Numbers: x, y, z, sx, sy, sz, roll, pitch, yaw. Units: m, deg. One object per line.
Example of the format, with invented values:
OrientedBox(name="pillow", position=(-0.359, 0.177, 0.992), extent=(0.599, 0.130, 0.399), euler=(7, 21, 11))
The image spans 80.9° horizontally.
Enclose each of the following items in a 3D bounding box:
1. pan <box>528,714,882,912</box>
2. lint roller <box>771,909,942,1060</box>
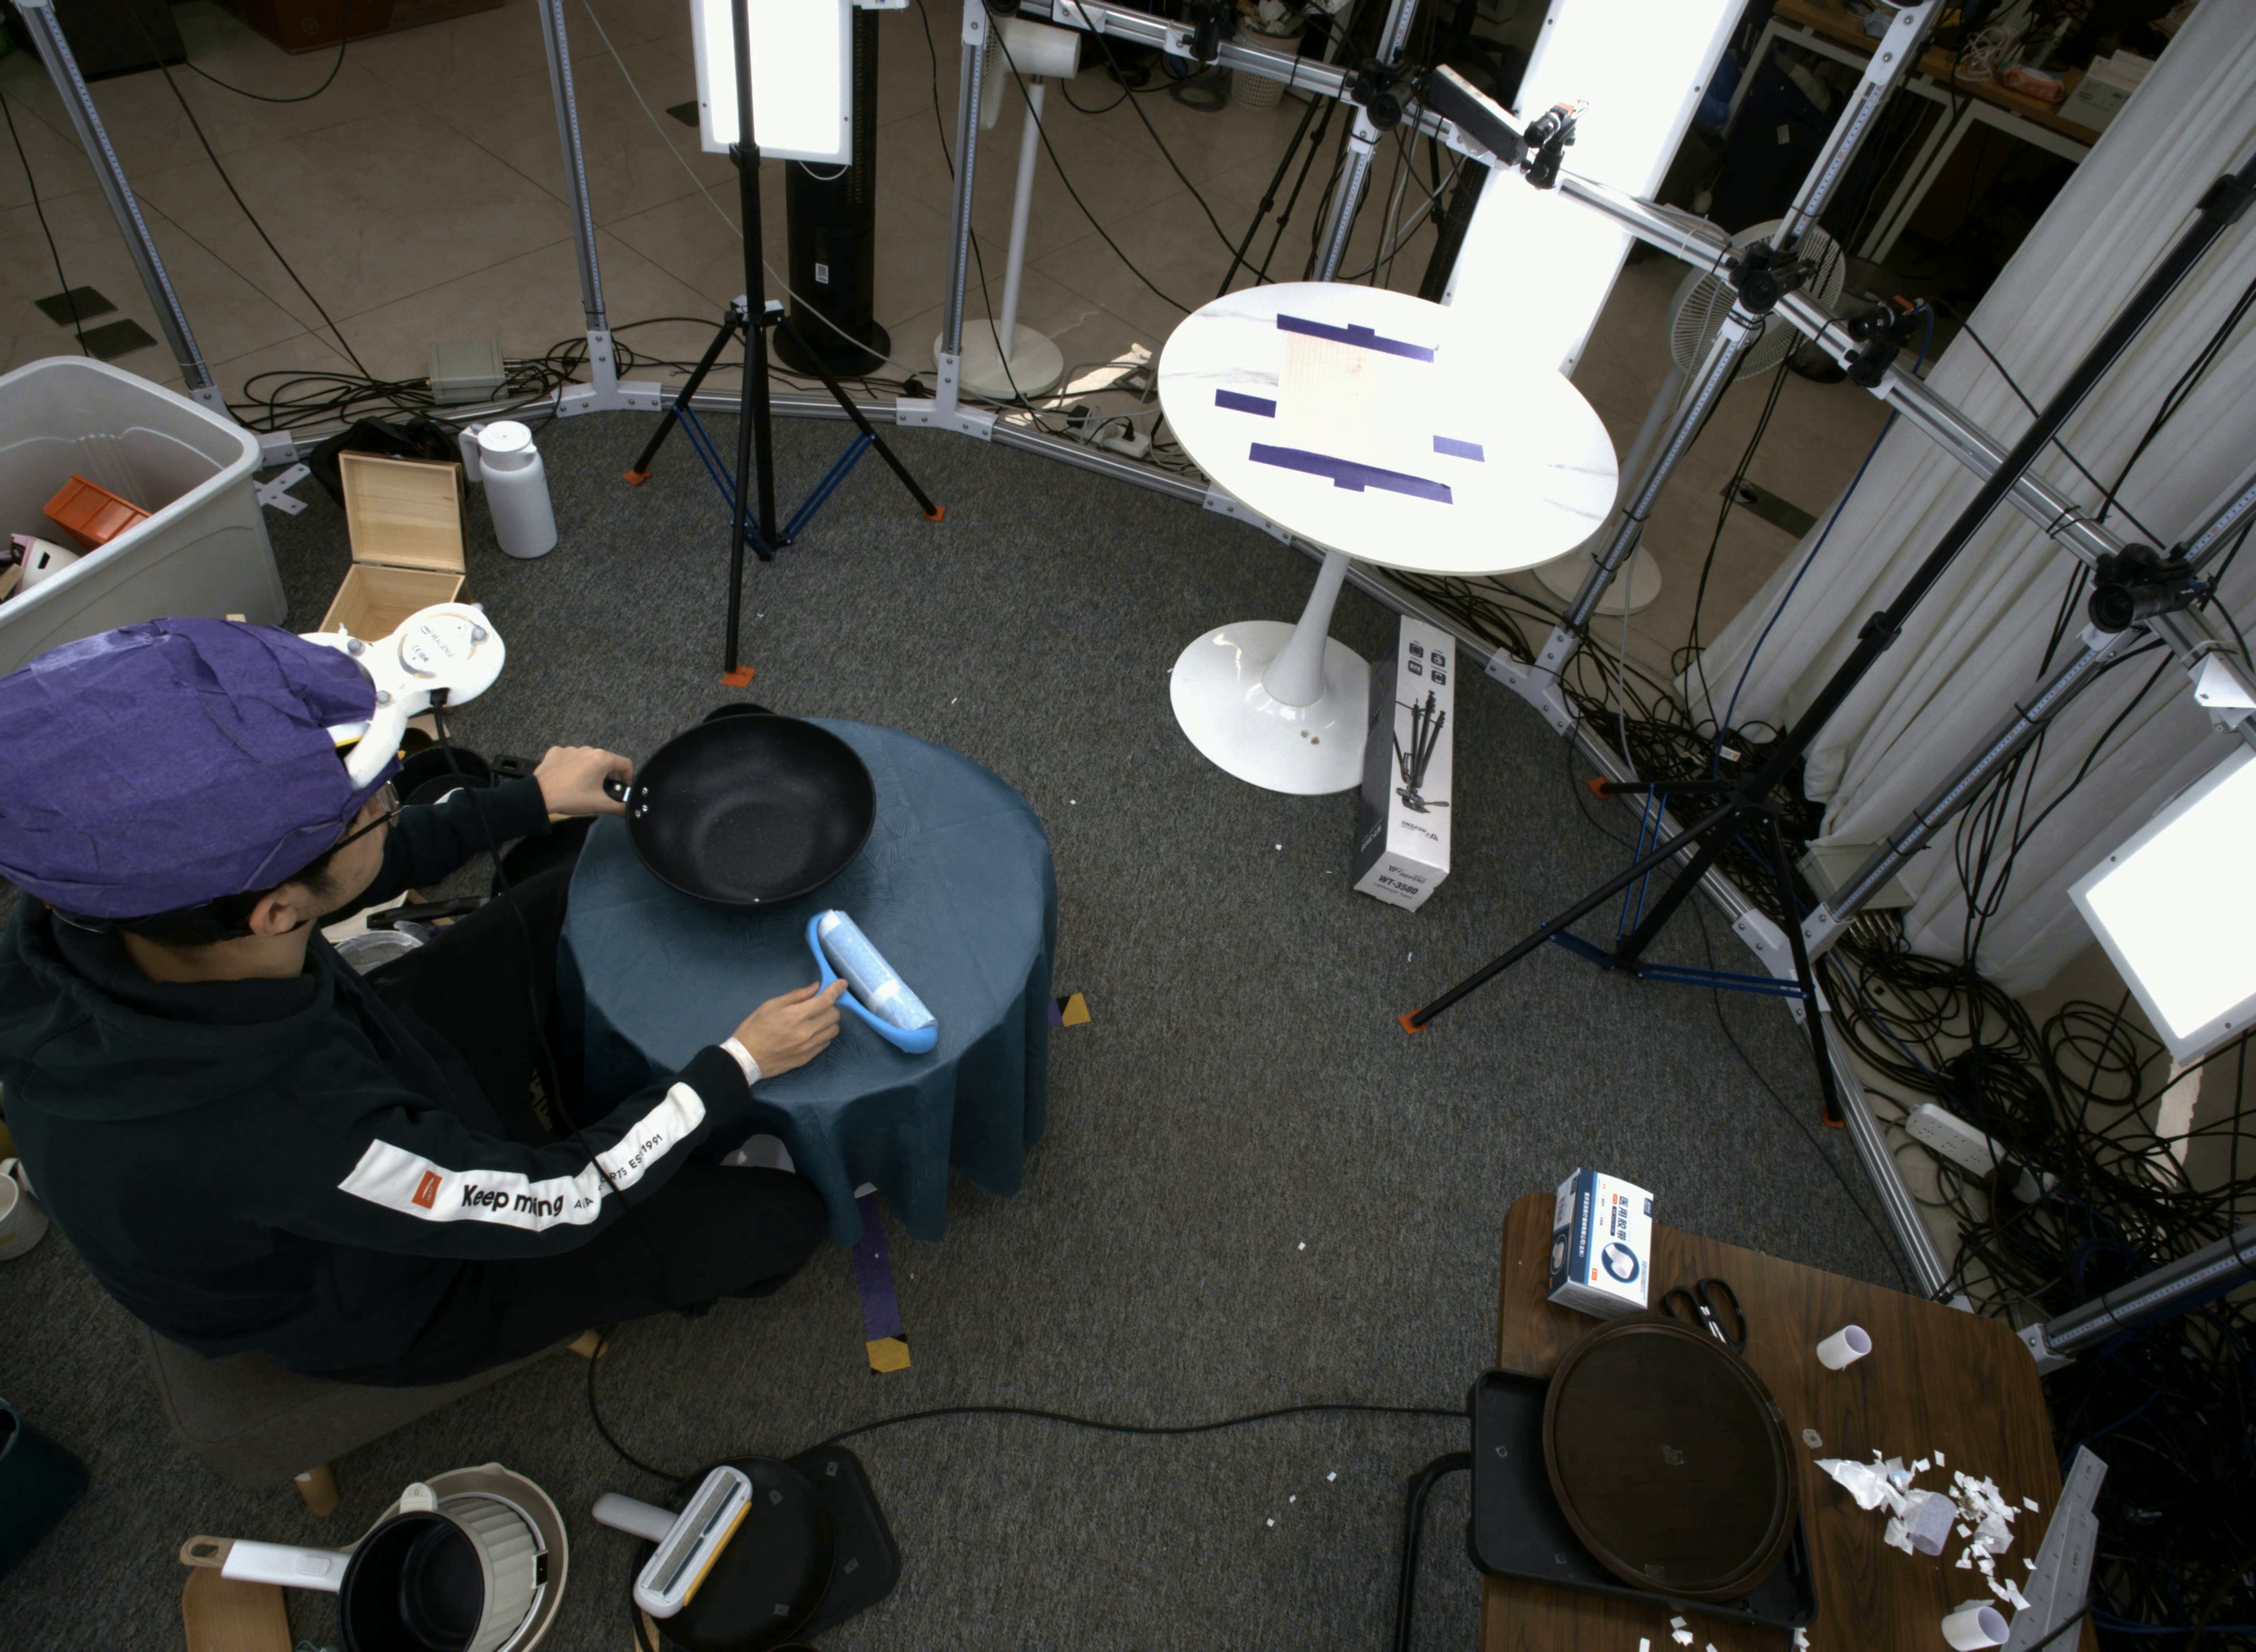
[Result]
OrientedBox(name="pan", position=(-0.553, -0.020, 1.642), extent=(0.475, 0.114, 0.304), euler=(6, 51, -7))
OrientedBox(name="lint roller", position=(-0.349, 0.212, 1.557), extent=(0.224, 0.069, 0.181), euler=(44, 55, 15))
